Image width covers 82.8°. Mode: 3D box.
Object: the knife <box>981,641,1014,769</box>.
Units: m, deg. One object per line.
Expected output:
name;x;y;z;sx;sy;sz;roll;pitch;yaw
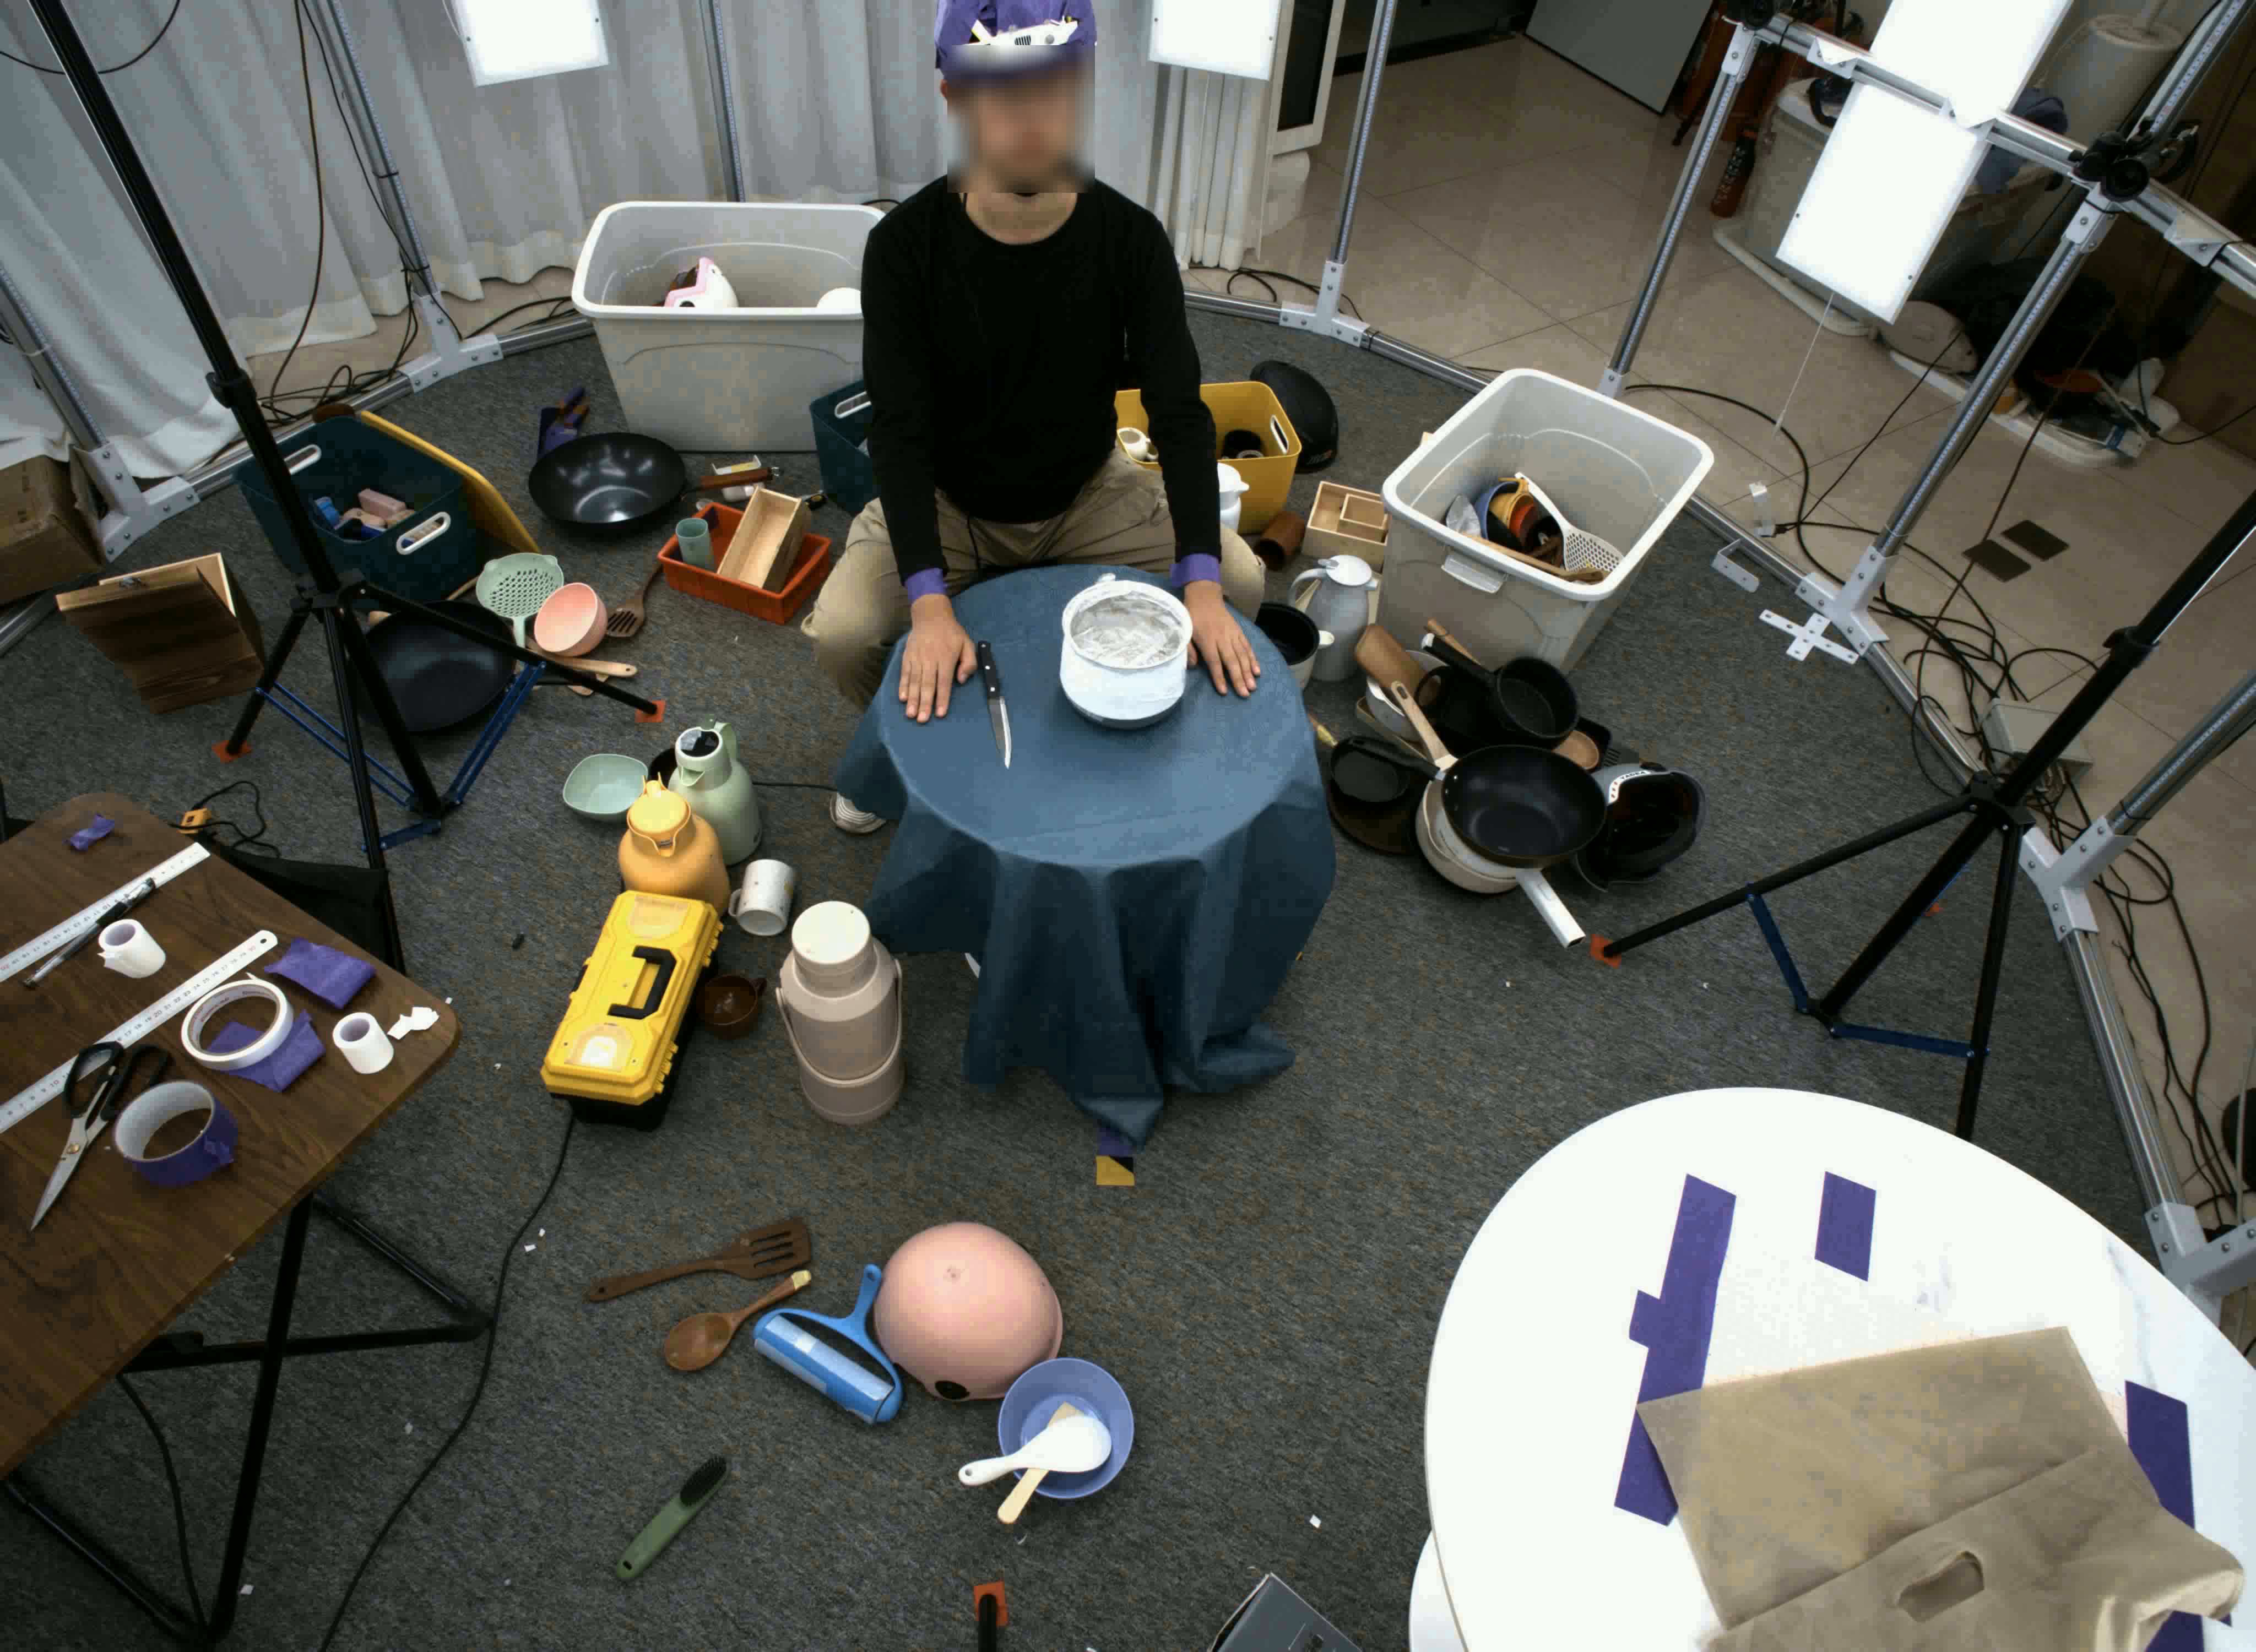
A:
knife;-0.184;-0.171;1.799;0.024;0.016;0.244;-6;52;-10

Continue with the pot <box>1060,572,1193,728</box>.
pot;-0.012;-0.256;1.799;0.178;0.133;0.239;-10;52;-13
